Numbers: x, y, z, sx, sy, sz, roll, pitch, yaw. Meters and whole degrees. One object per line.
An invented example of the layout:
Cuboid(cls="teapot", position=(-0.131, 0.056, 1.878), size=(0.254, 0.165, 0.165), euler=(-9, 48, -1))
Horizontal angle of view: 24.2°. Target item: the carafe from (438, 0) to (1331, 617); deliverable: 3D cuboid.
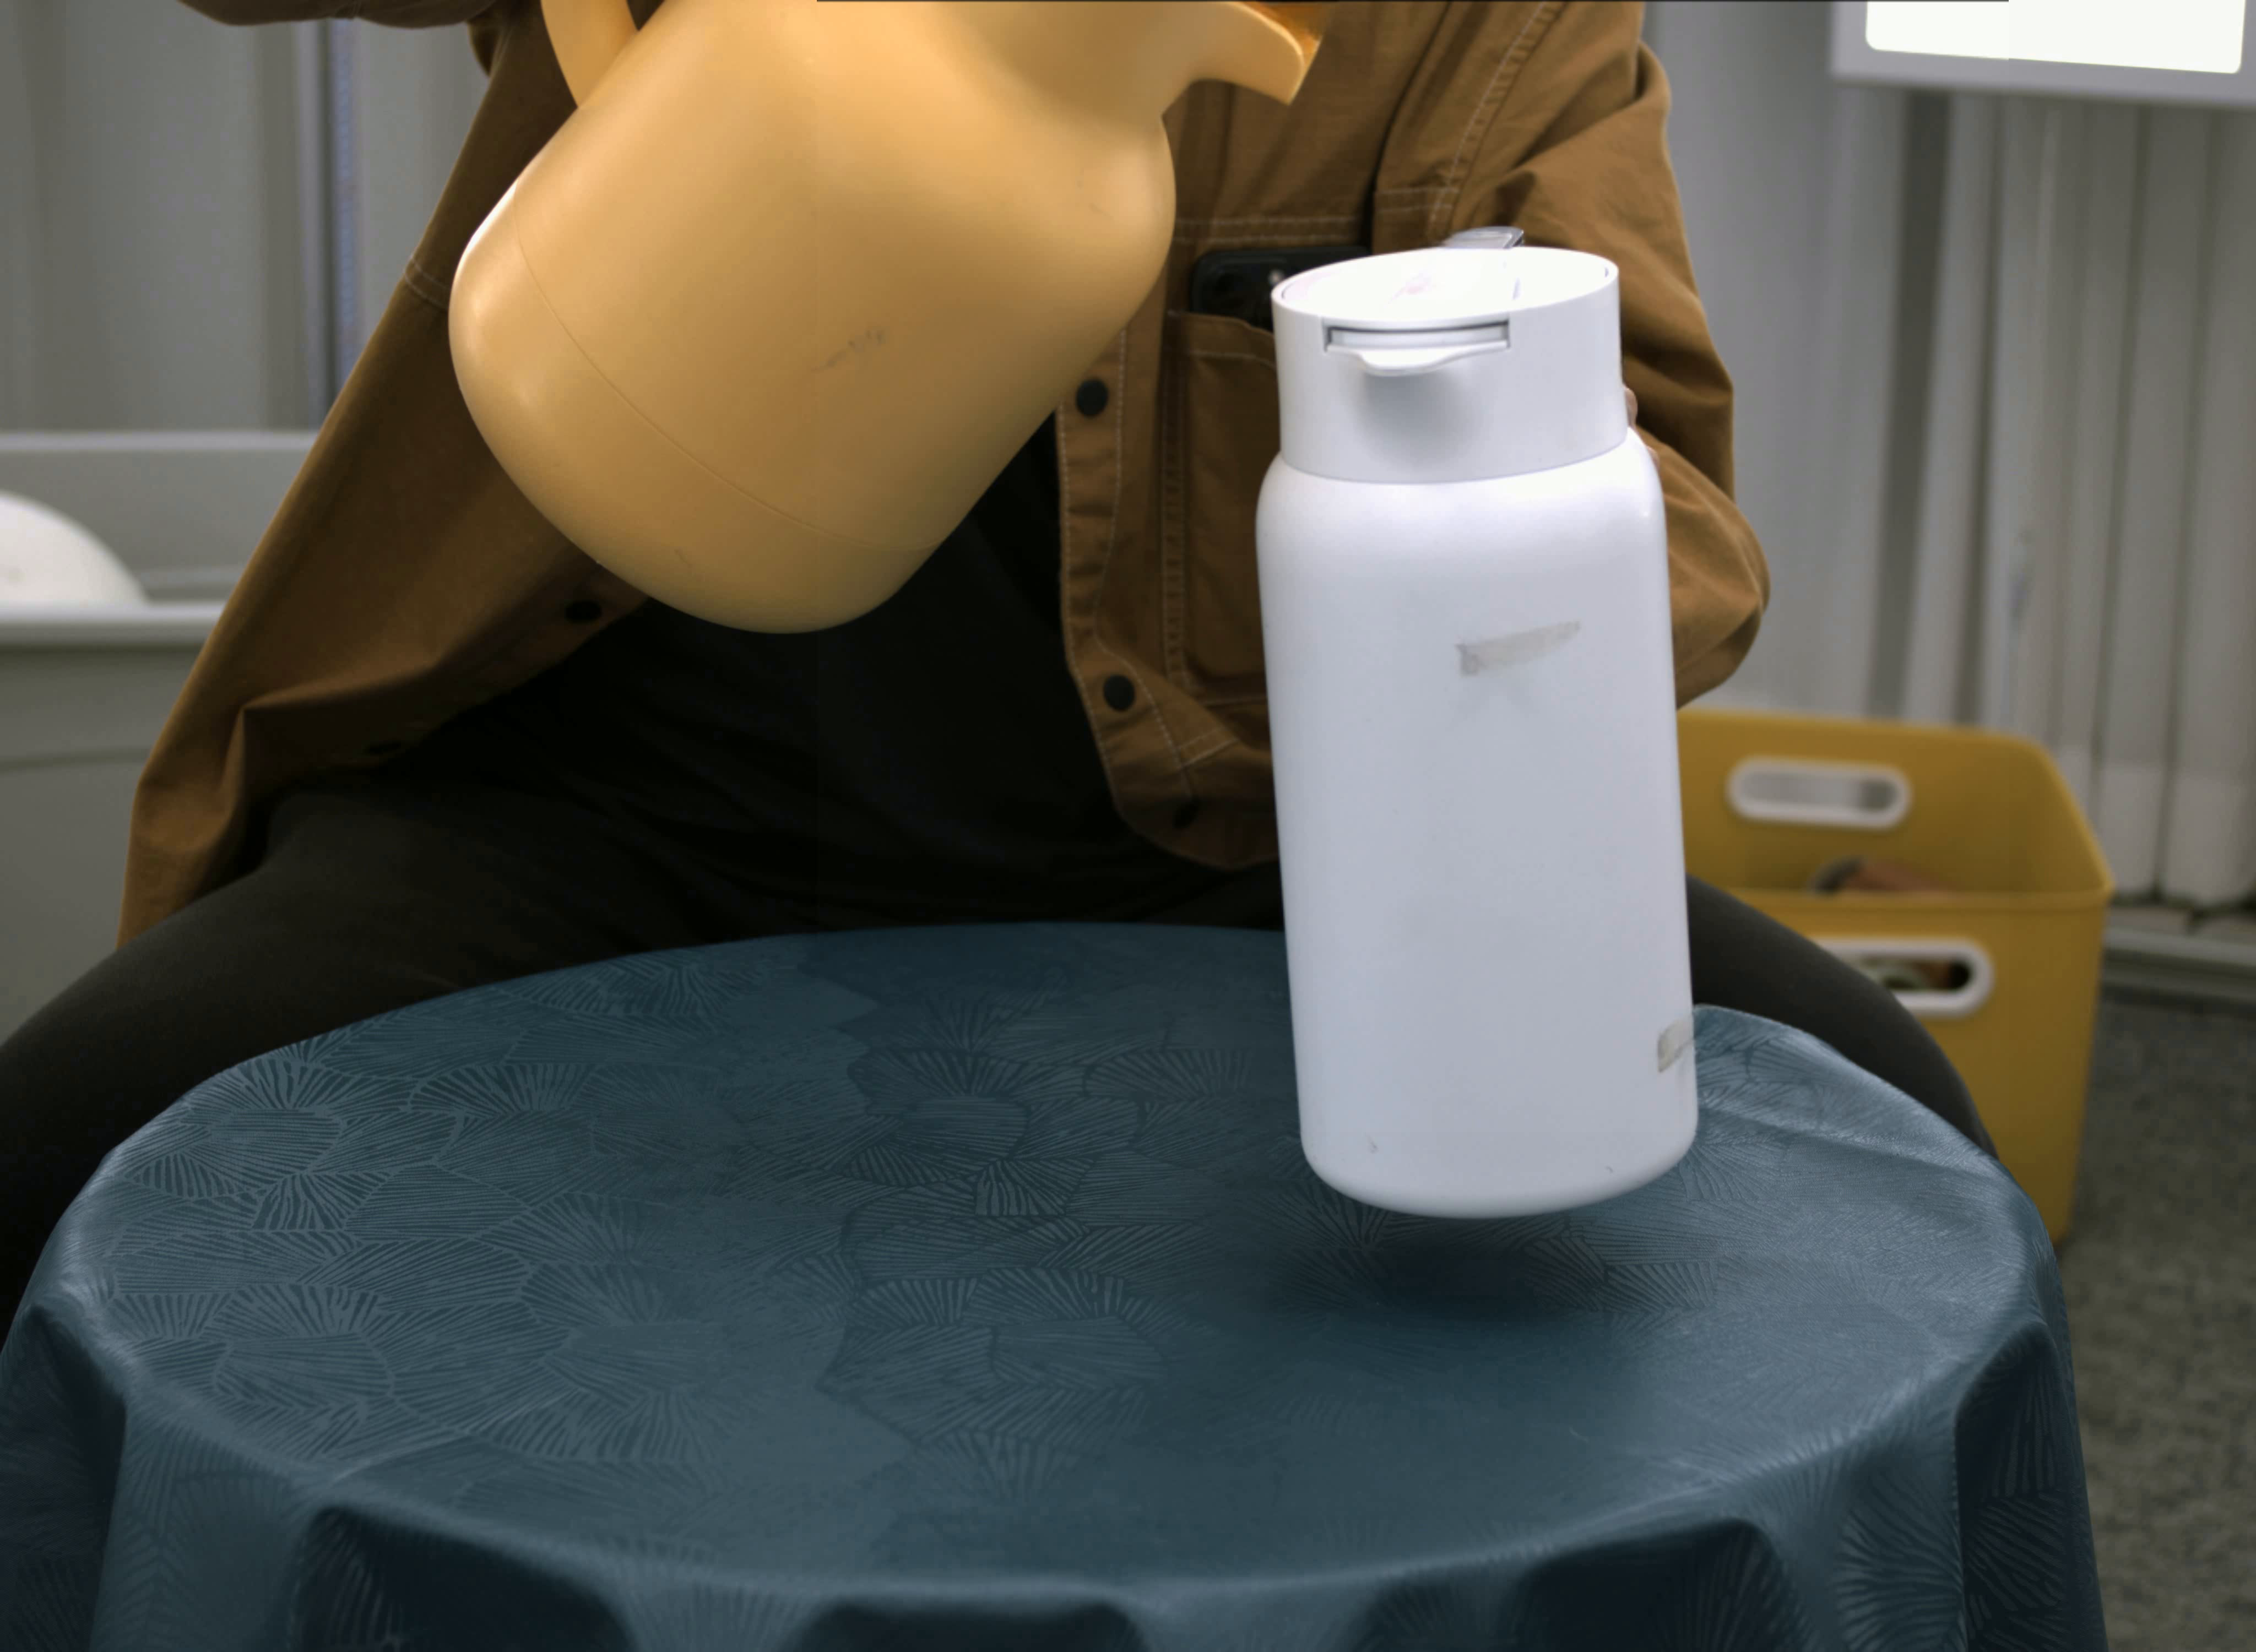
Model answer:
Cuboid(cls="carafe", position=(-0.082, -0.205, 1.499), size=(0.203, 0.260, 0.163), euler=(44, 23, -6))

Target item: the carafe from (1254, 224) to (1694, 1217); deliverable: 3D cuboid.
Cuboid(cls="carafe", position=(0.102, -0.035, 1.527), size=(0.123, 0.271, 0.172), euler=(-2, 17, 15))
